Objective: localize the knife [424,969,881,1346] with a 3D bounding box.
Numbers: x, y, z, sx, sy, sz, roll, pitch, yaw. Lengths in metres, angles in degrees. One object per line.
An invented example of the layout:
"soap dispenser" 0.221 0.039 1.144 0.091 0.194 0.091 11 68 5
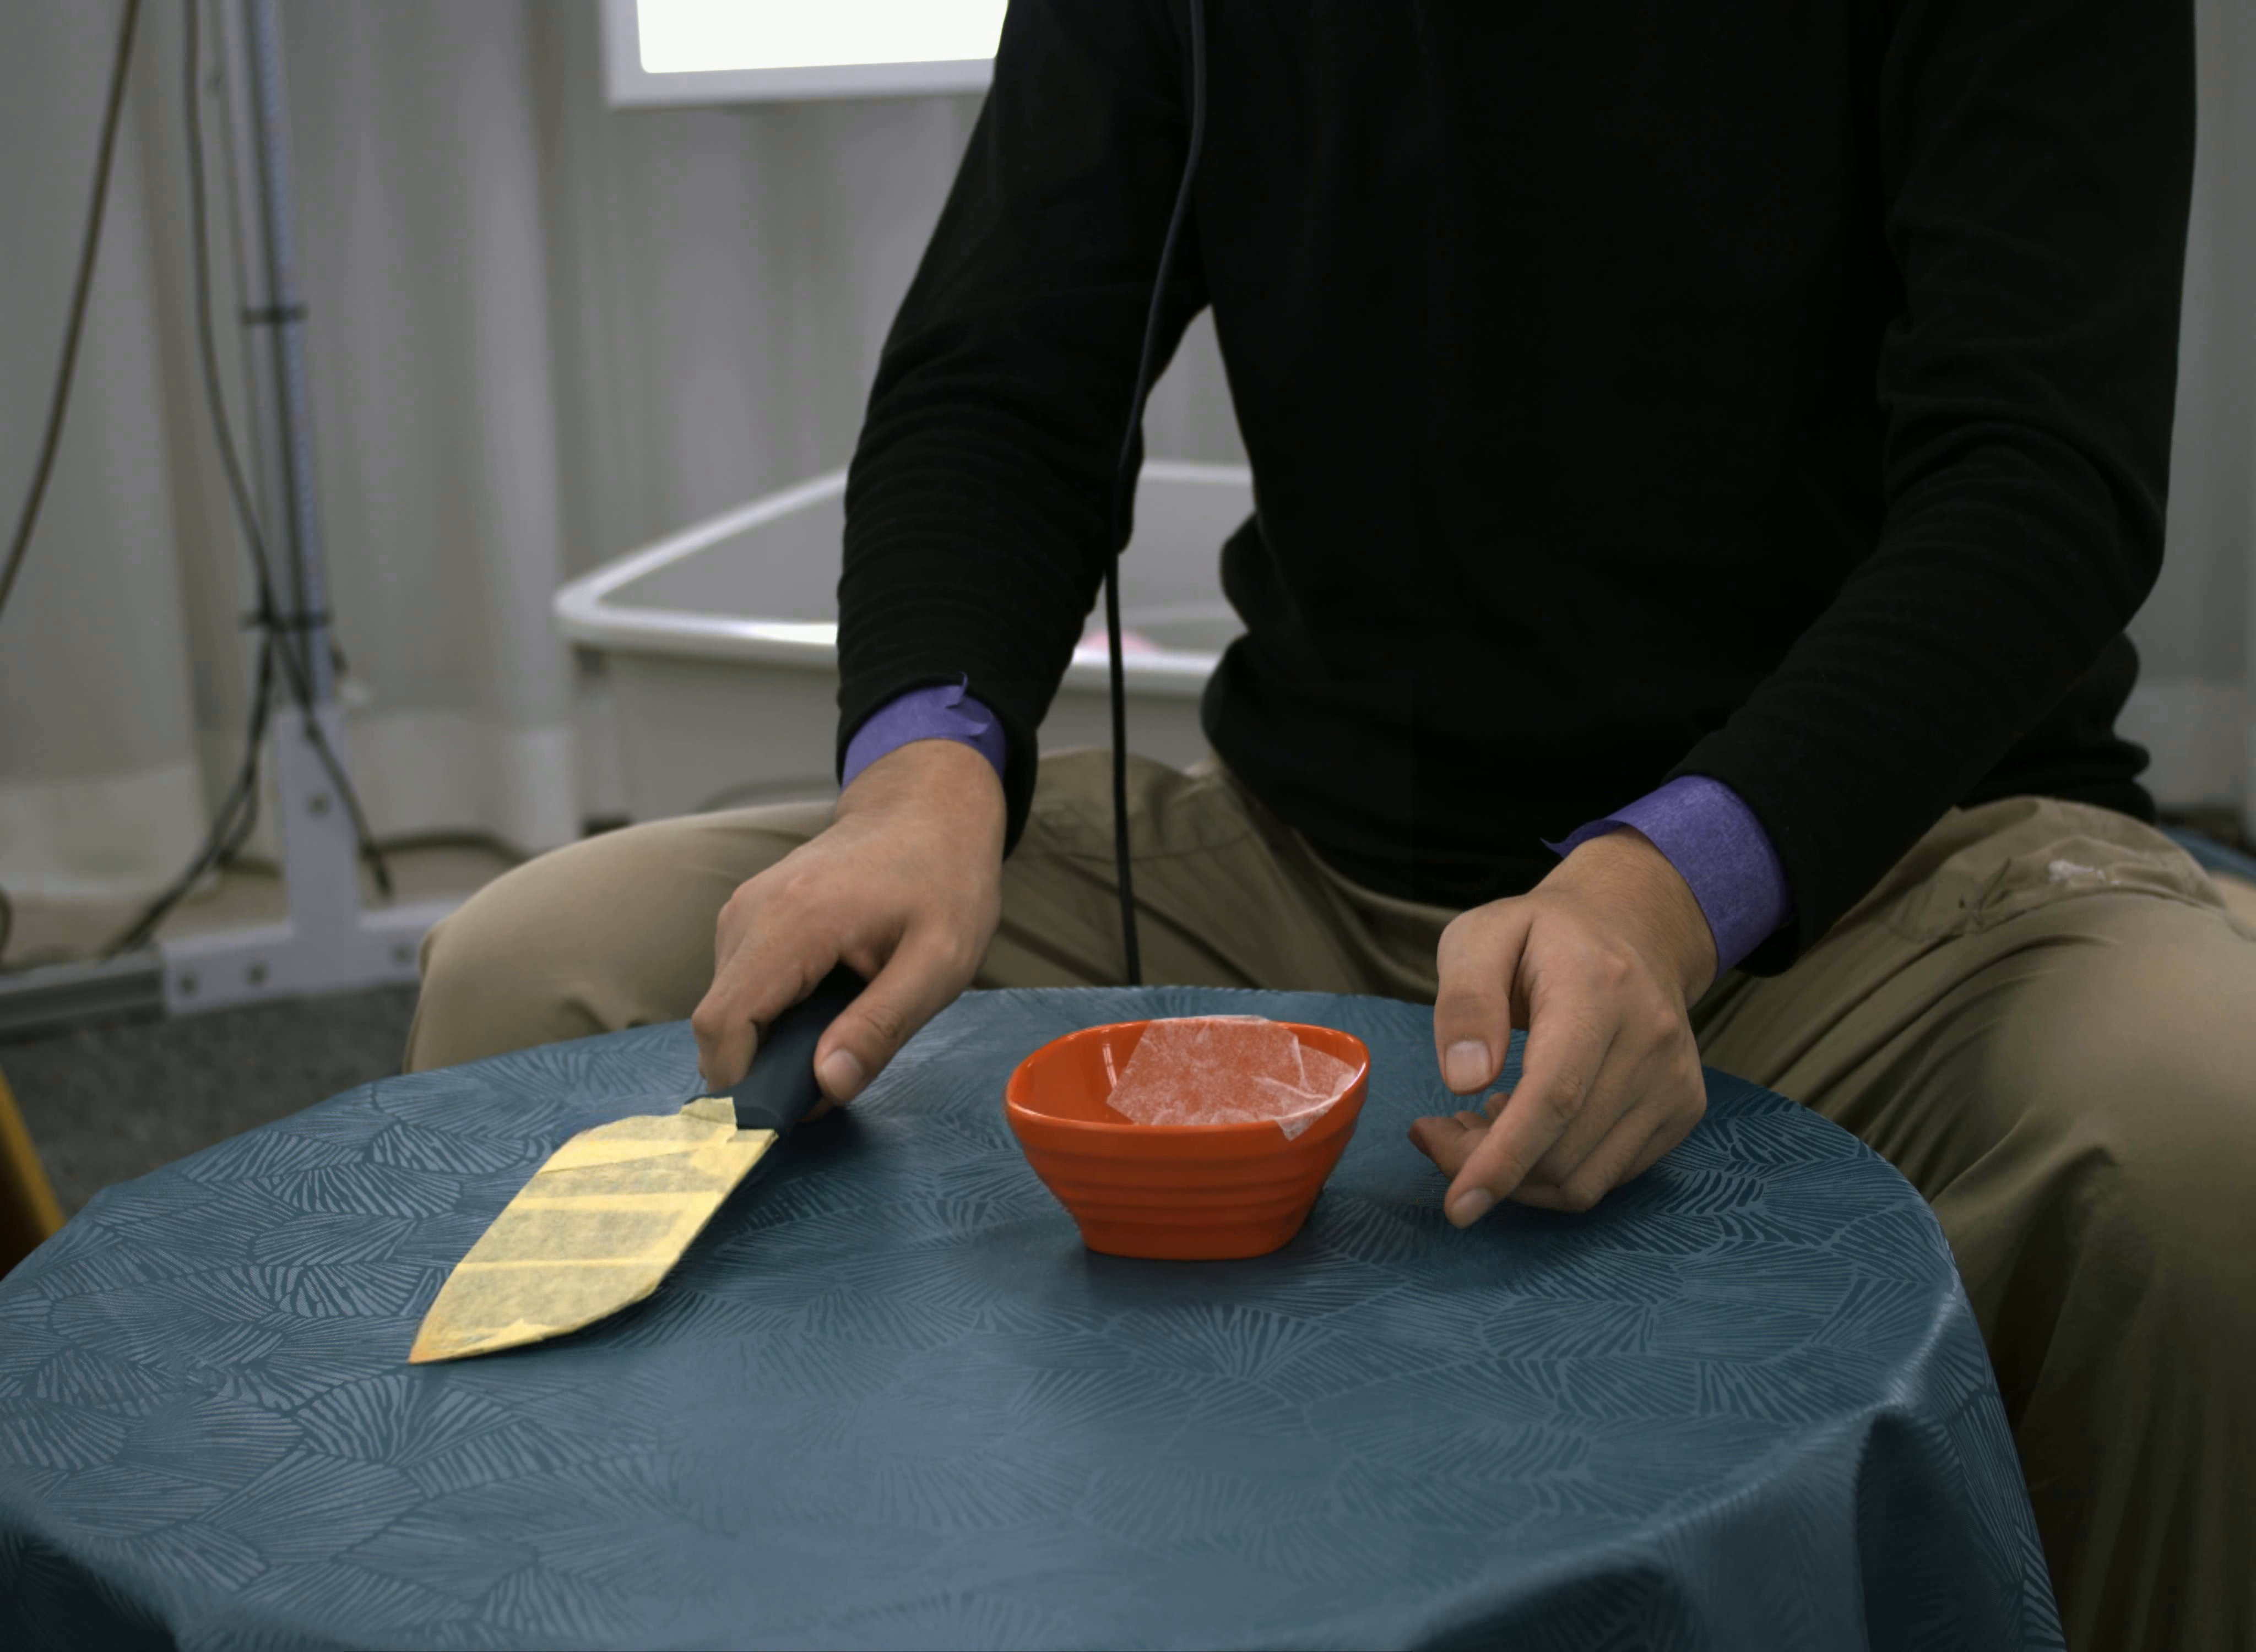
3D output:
"knife" -0.145 0.104 1.720 0.081 0.027 0.291 -1 19 20

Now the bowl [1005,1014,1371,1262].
"bowl" 0.020 0.098 1.673 0.118 0.051 0.120 -5 15 1
